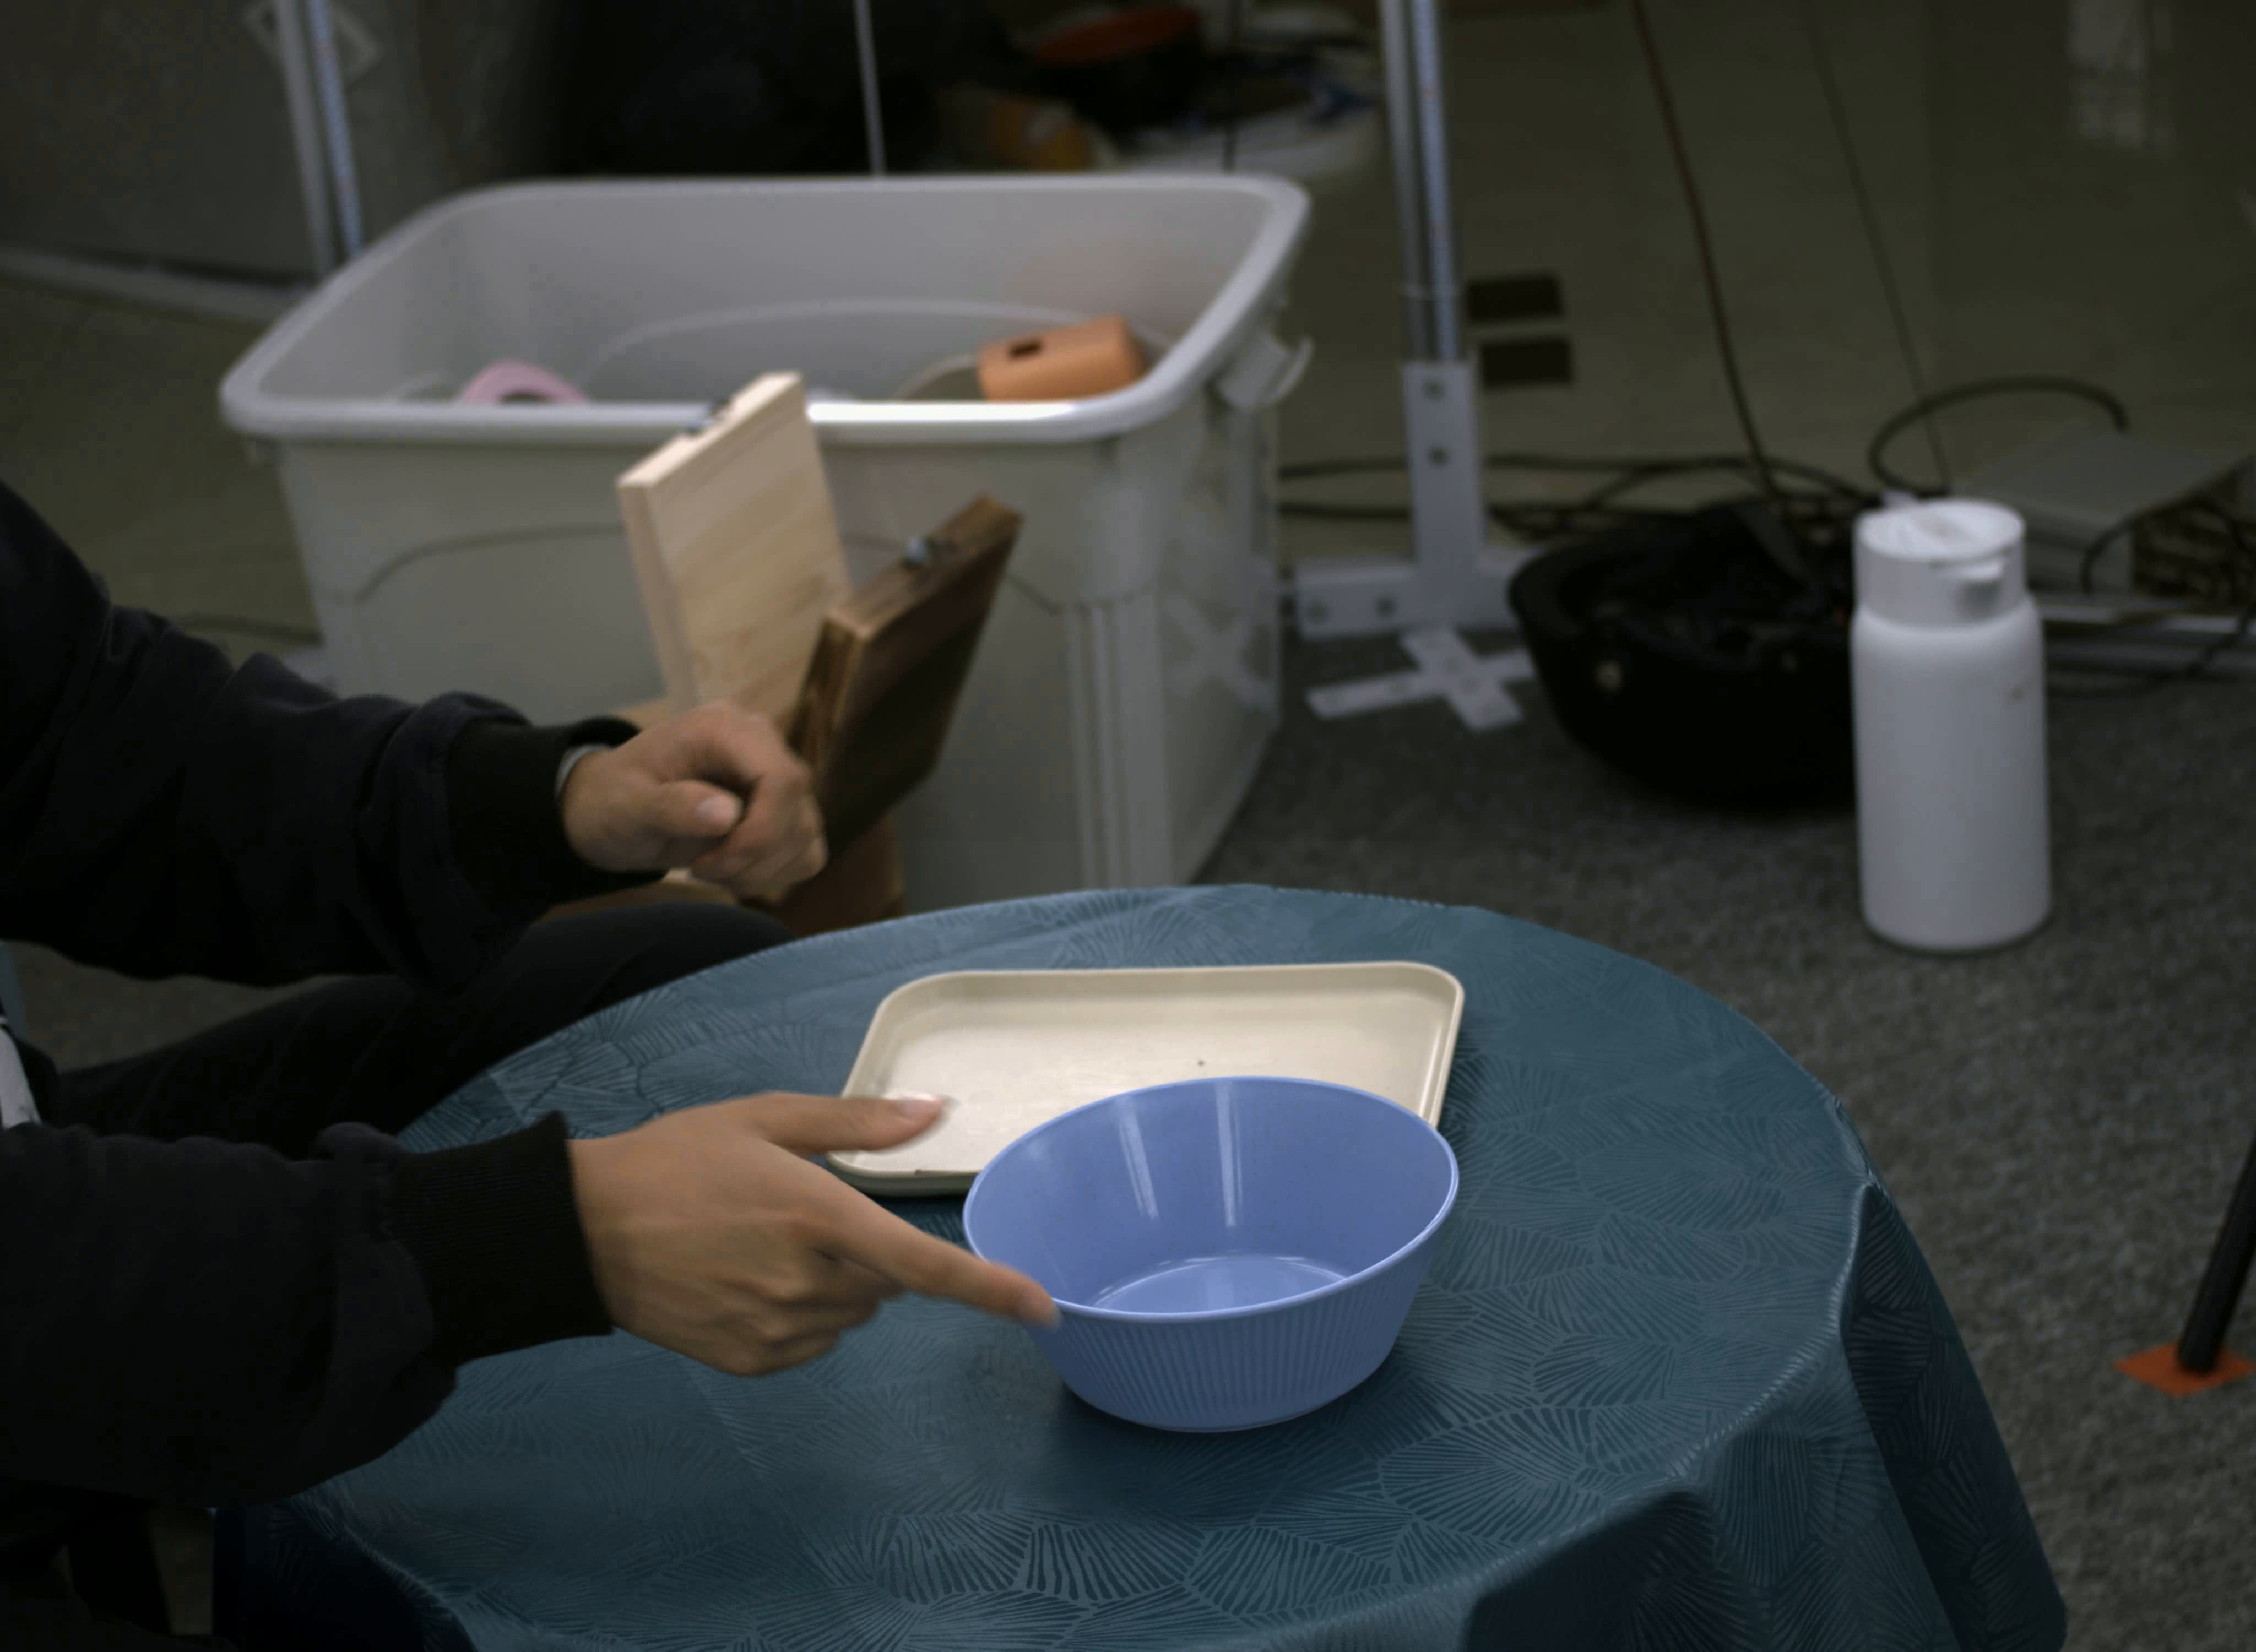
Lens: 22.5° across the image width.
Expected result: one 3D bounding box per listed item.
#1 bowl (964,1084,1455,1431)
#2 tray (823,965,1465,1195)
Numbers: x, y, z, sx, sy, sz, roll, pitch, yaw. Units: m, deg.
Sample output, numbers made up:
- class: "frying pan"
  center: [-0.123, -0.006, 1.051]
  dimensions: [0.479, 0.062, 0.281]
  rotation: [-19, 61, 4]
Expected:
- class: "bowl"
  center: [0.032, 0.159, 2.017]
  dimensions: [0.176, 0.071, 0.173]
  rotation: [-5, 24, 2]
- class: "tray"
  center: [0.008, 0.100, 2.213]
  dimensions: [0.239, 0.018, 0.169]
  rotation: [-1, 25, 11]
